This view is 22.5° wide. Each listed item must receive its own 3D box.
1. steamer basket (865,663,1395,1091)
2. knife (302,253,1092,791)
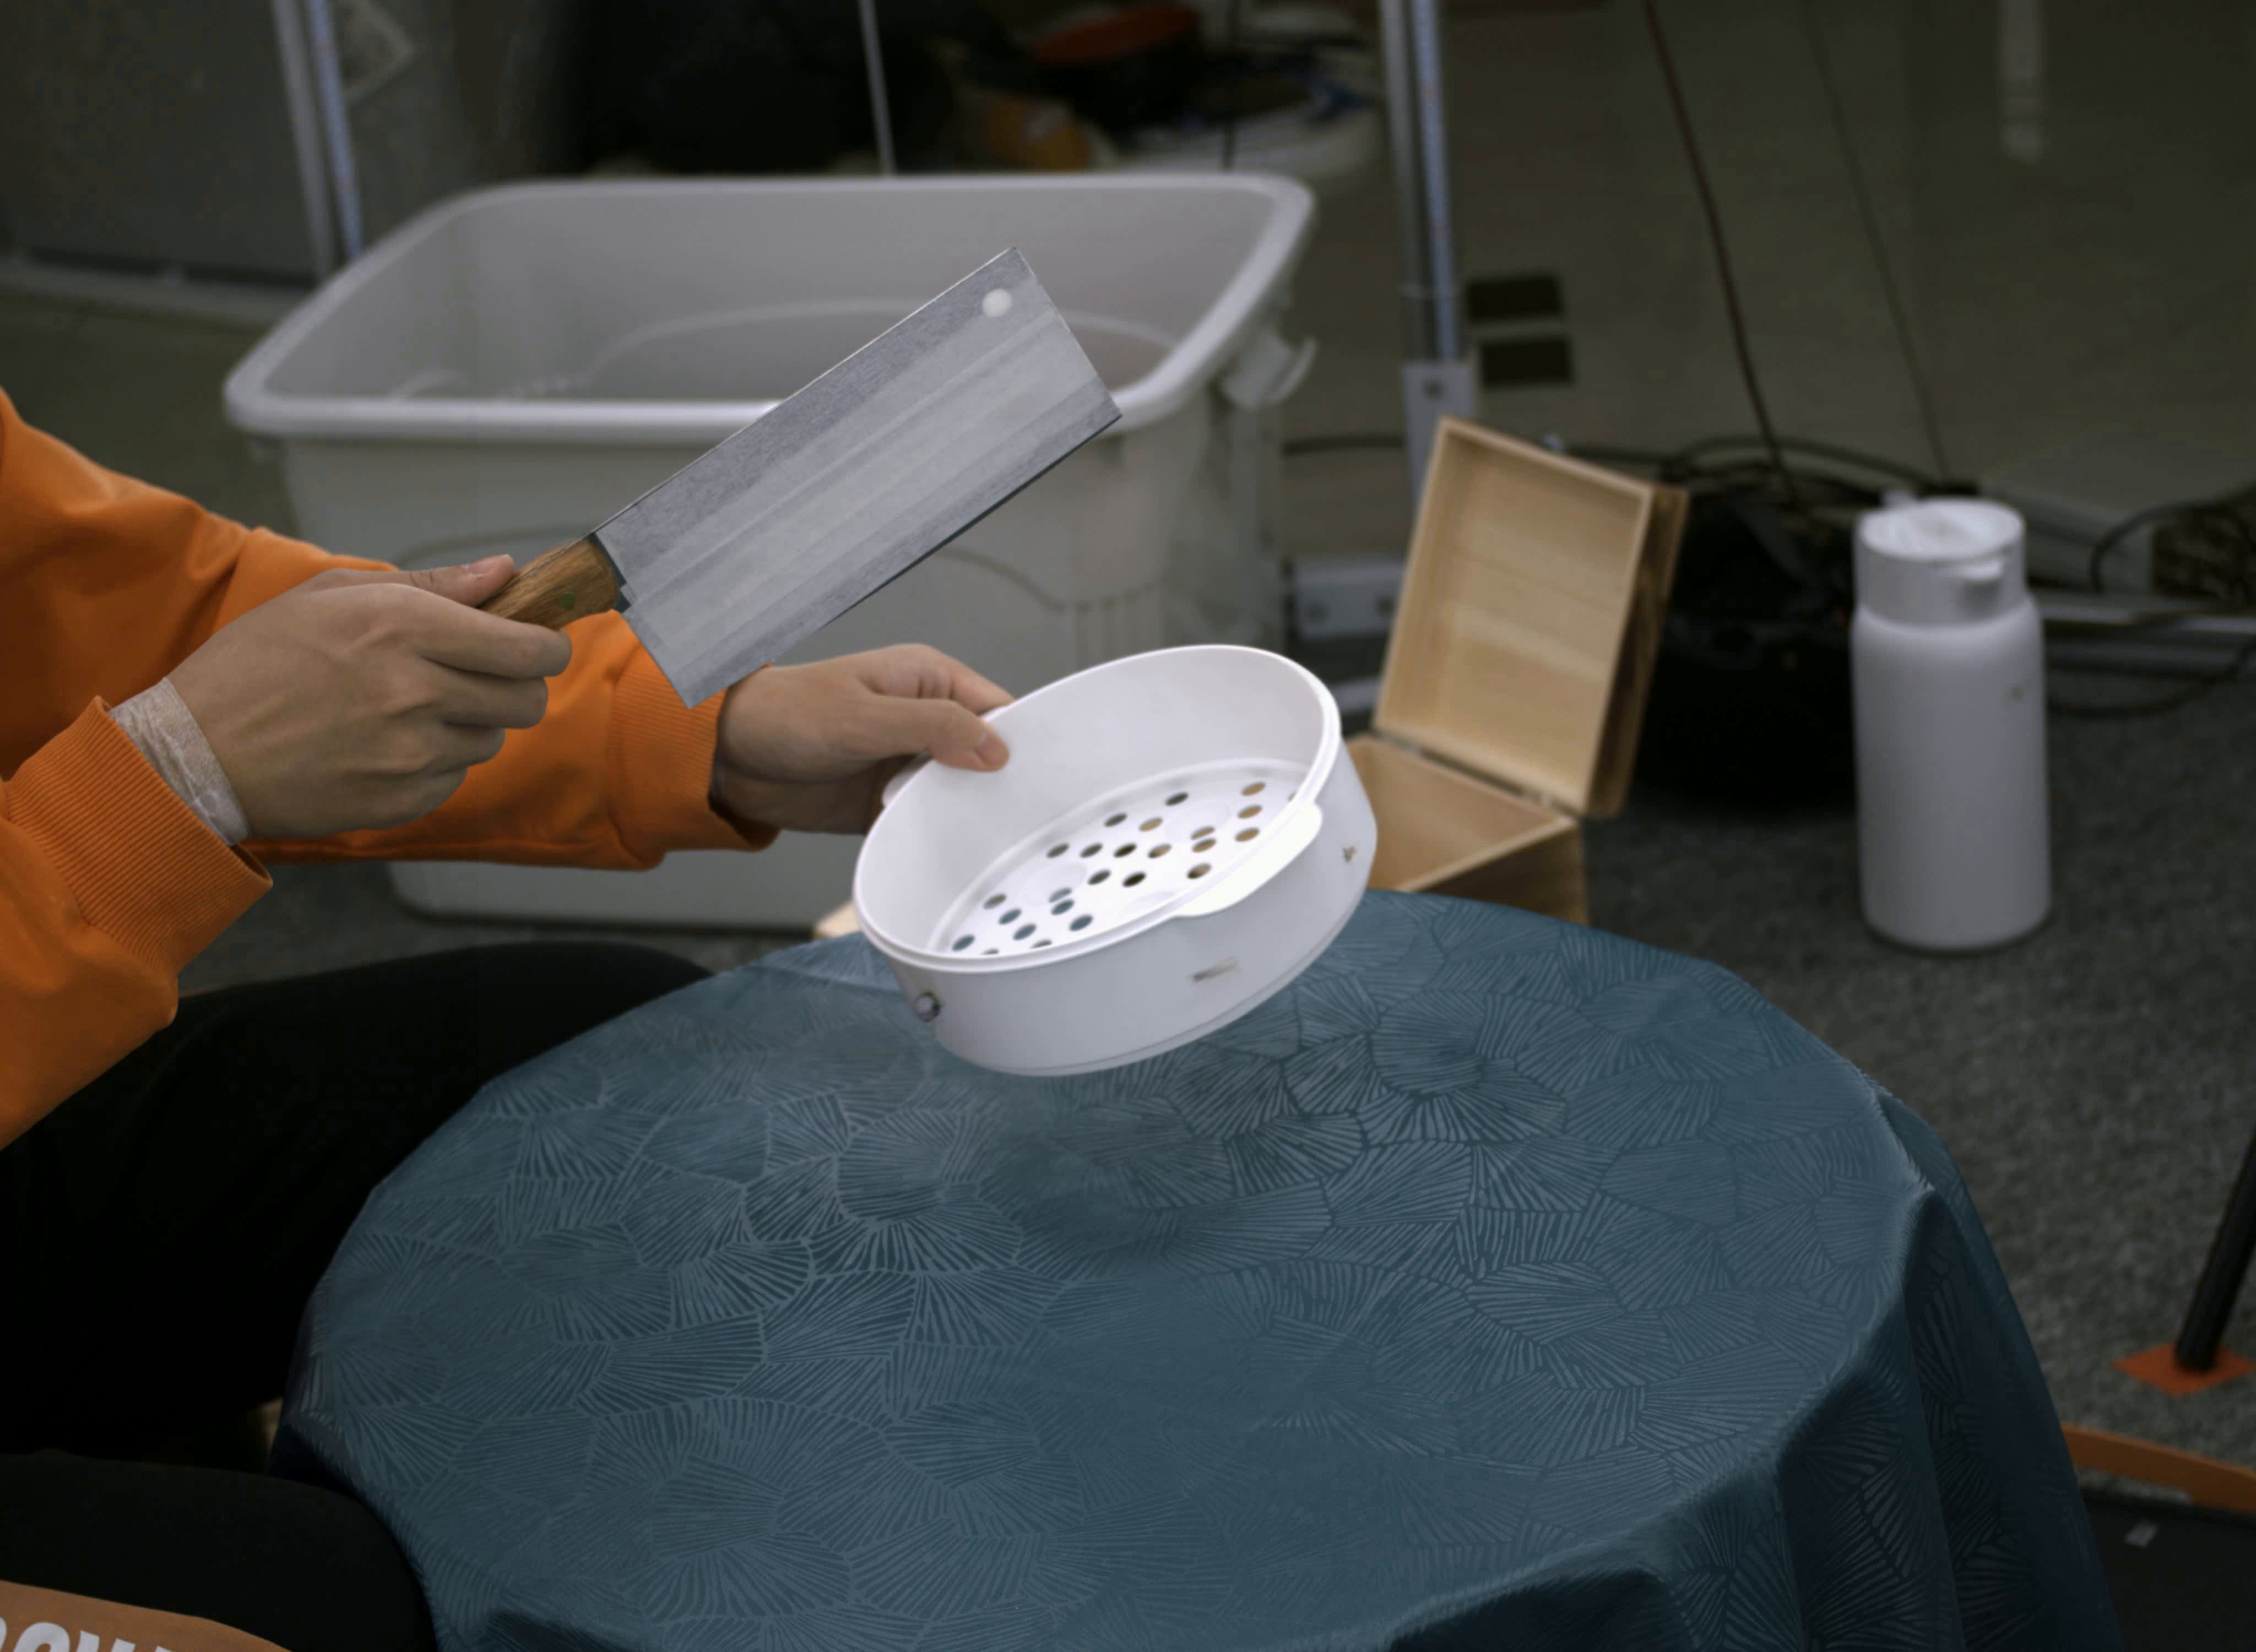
[{"bbox_3d":[0.003,0.020,2.165,0.200,0.070,0.228,-38,34,-24],"label":"steamer basket"},{"bbox_3d":[-0.148,-0.092,2.010,0.305,0.094,0.020,-34,42,1],"label":"knife"}]
